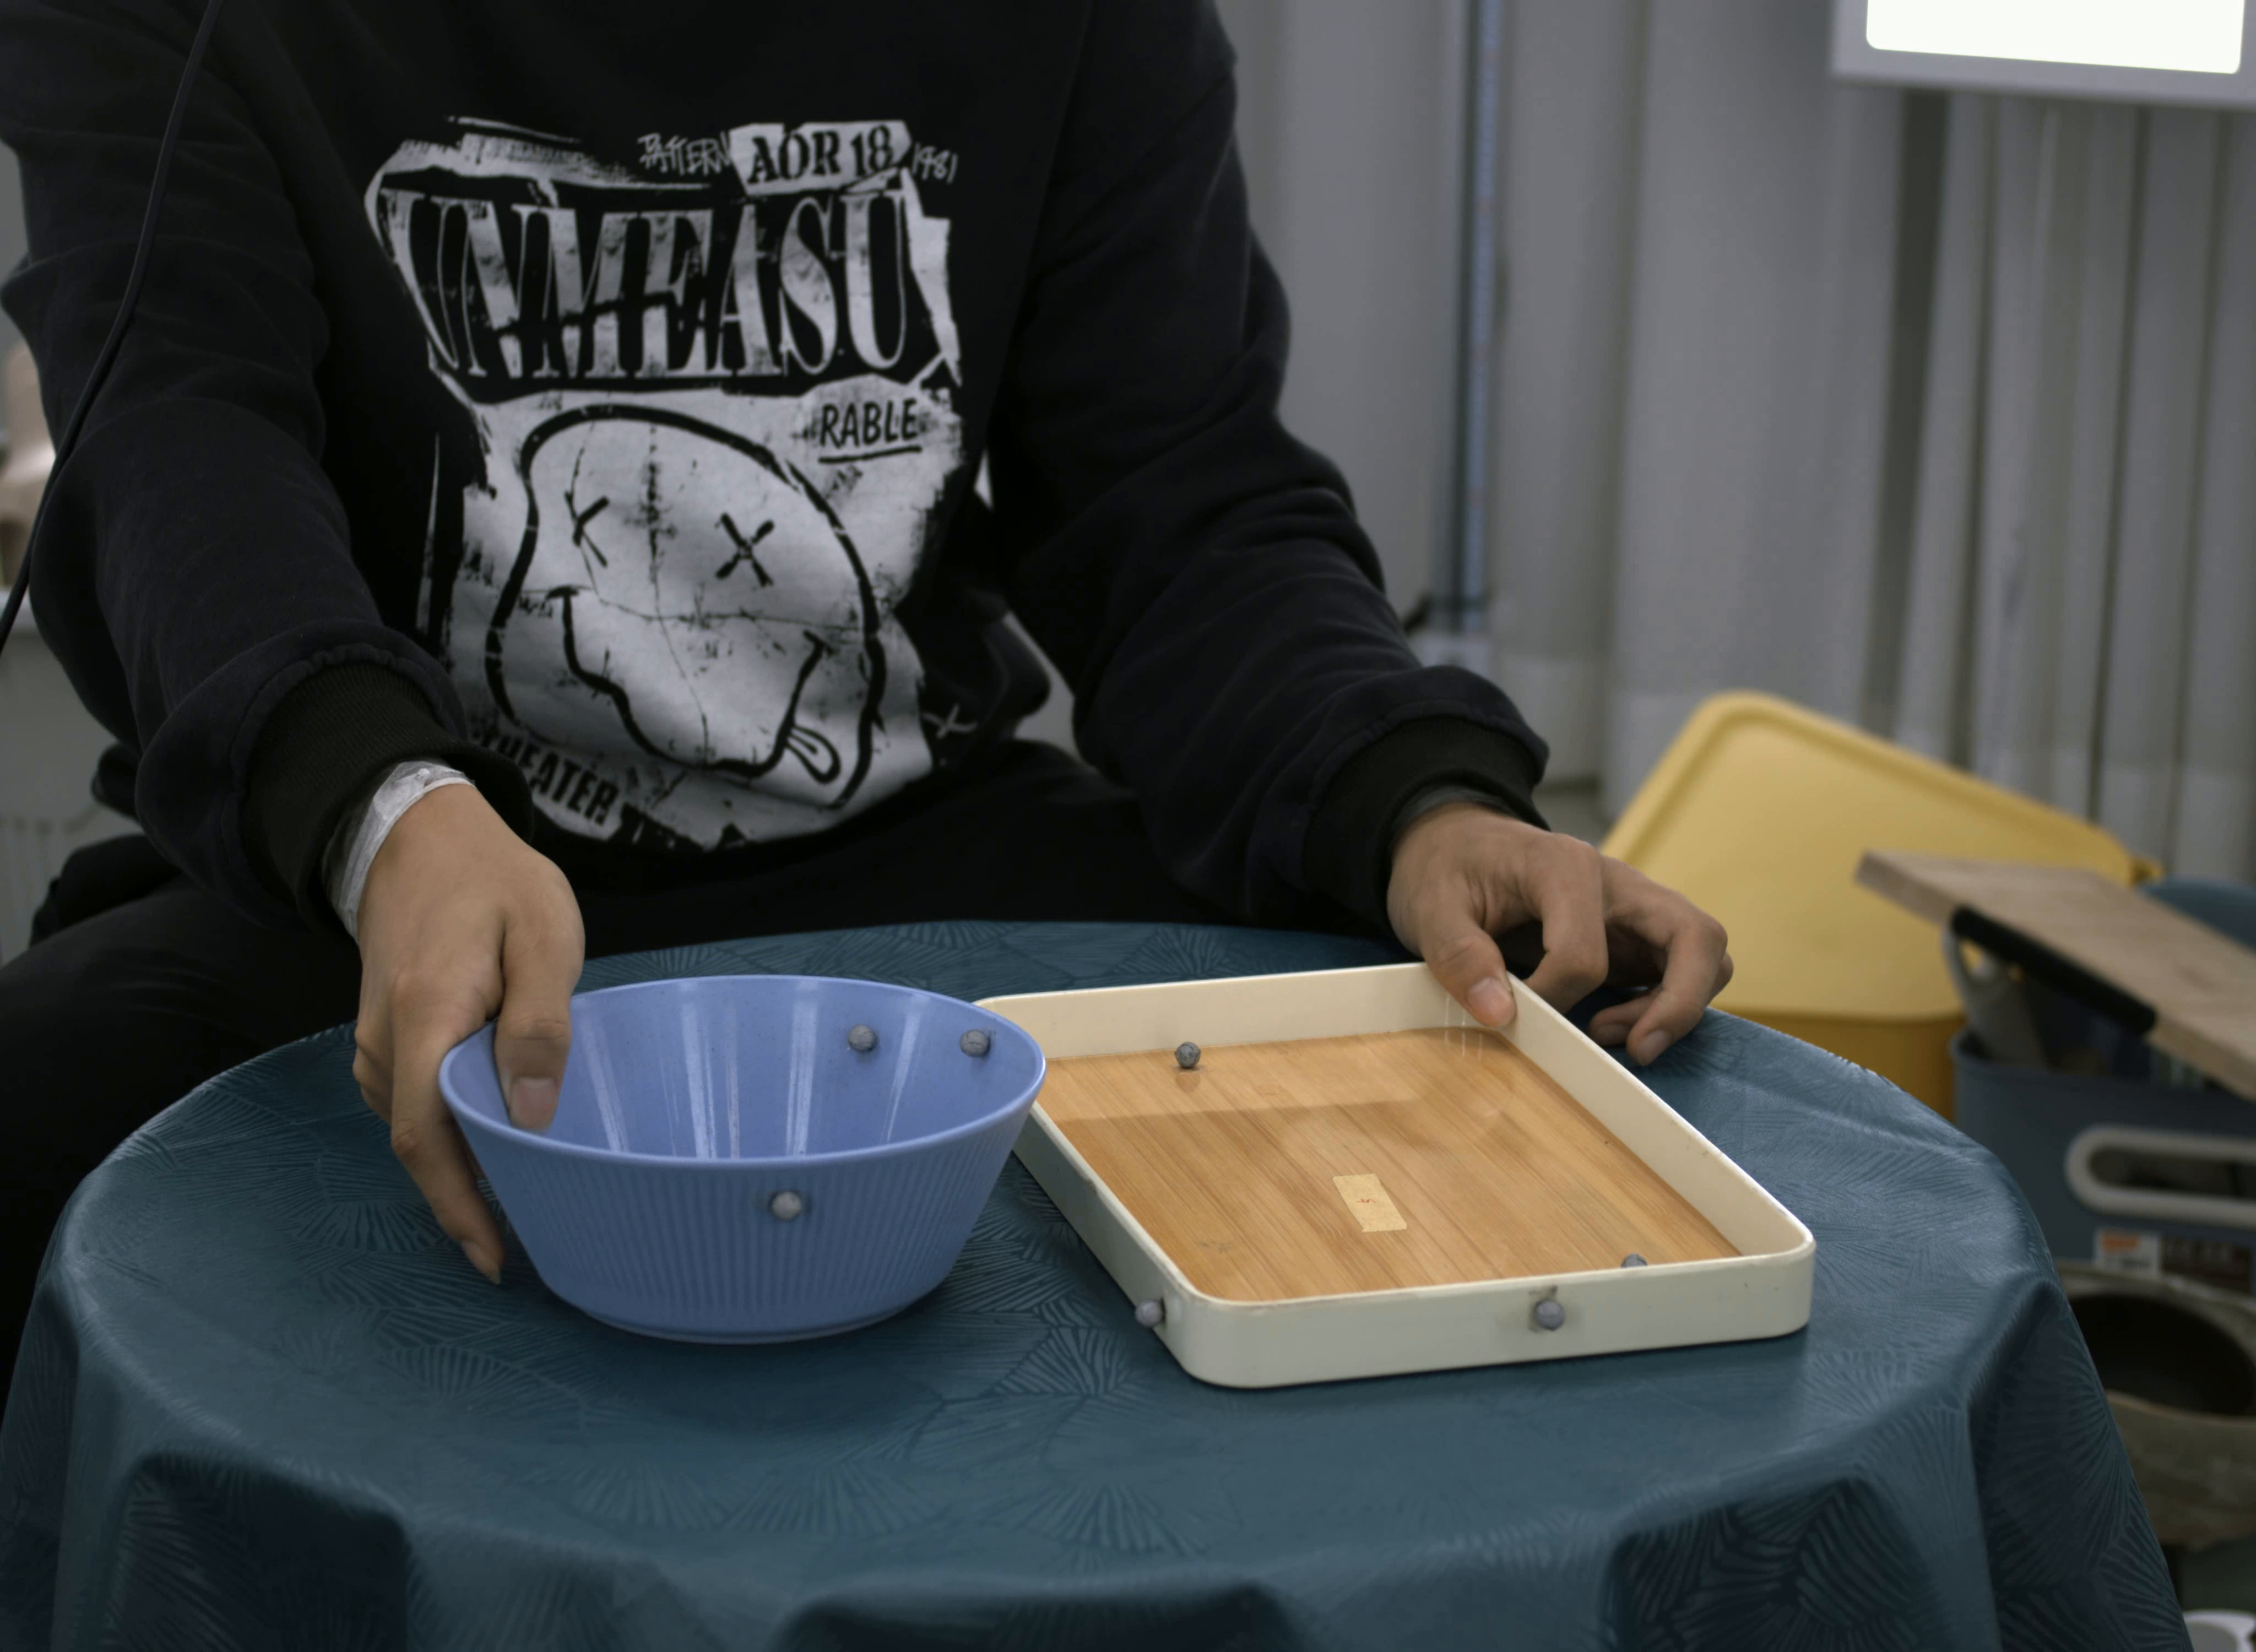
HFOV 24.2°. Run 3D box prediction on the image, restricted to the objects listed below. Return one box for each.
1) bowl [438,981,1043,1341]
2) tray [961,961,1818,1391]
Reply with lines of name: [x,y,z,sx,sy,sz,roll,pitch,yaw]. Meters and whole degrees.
bowl: [-0.113,0.100,1.535,0.175,0.071,0.175,2,15,0]
tray: [0.072,0.102,1.619,0.192,0.027,0.297,-4,17,-15]
